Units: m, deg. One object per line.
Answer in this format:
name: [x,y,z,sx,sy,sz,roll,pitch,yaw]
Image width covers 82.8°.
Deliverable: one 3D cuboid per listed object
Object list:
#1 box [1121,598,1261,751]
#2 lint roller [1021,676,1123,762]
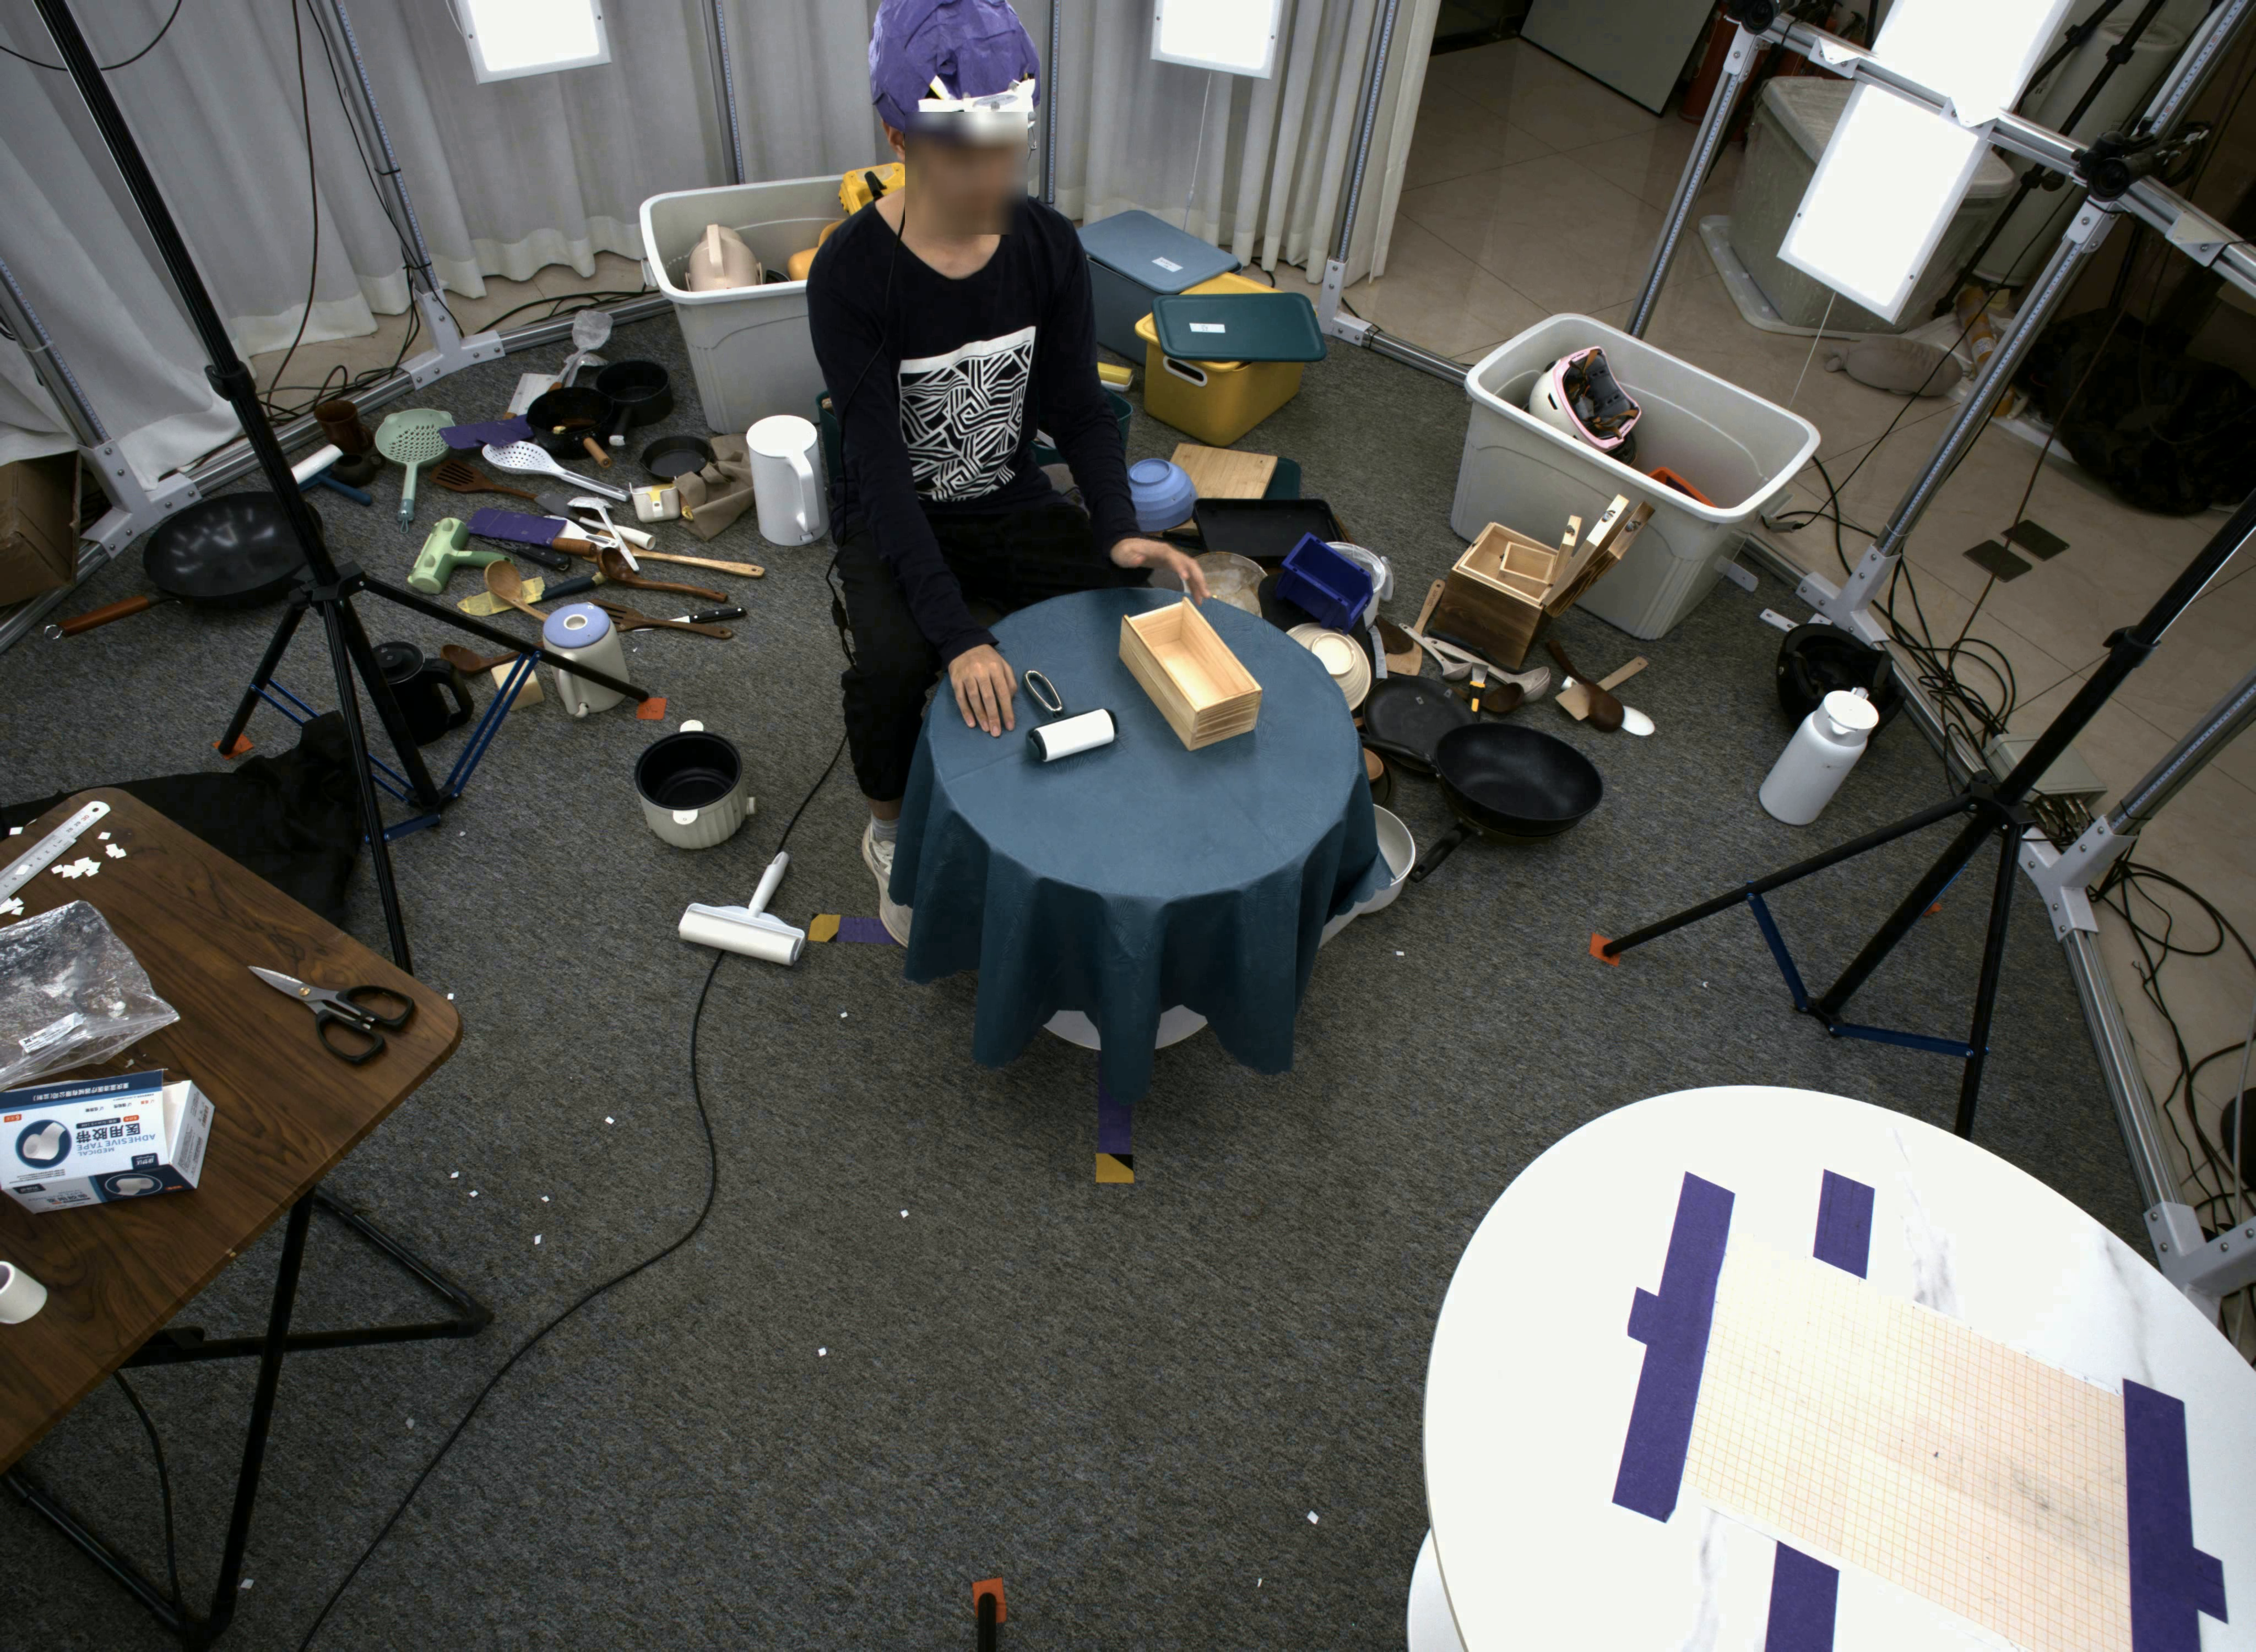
box: [0.085,-0.216,1.810,0.108,0.078,0.216,-20,52,-19]
lint roller: [-0.104,-0.168,1.780,0.134,0.047,0.184,-18,50,-19]
